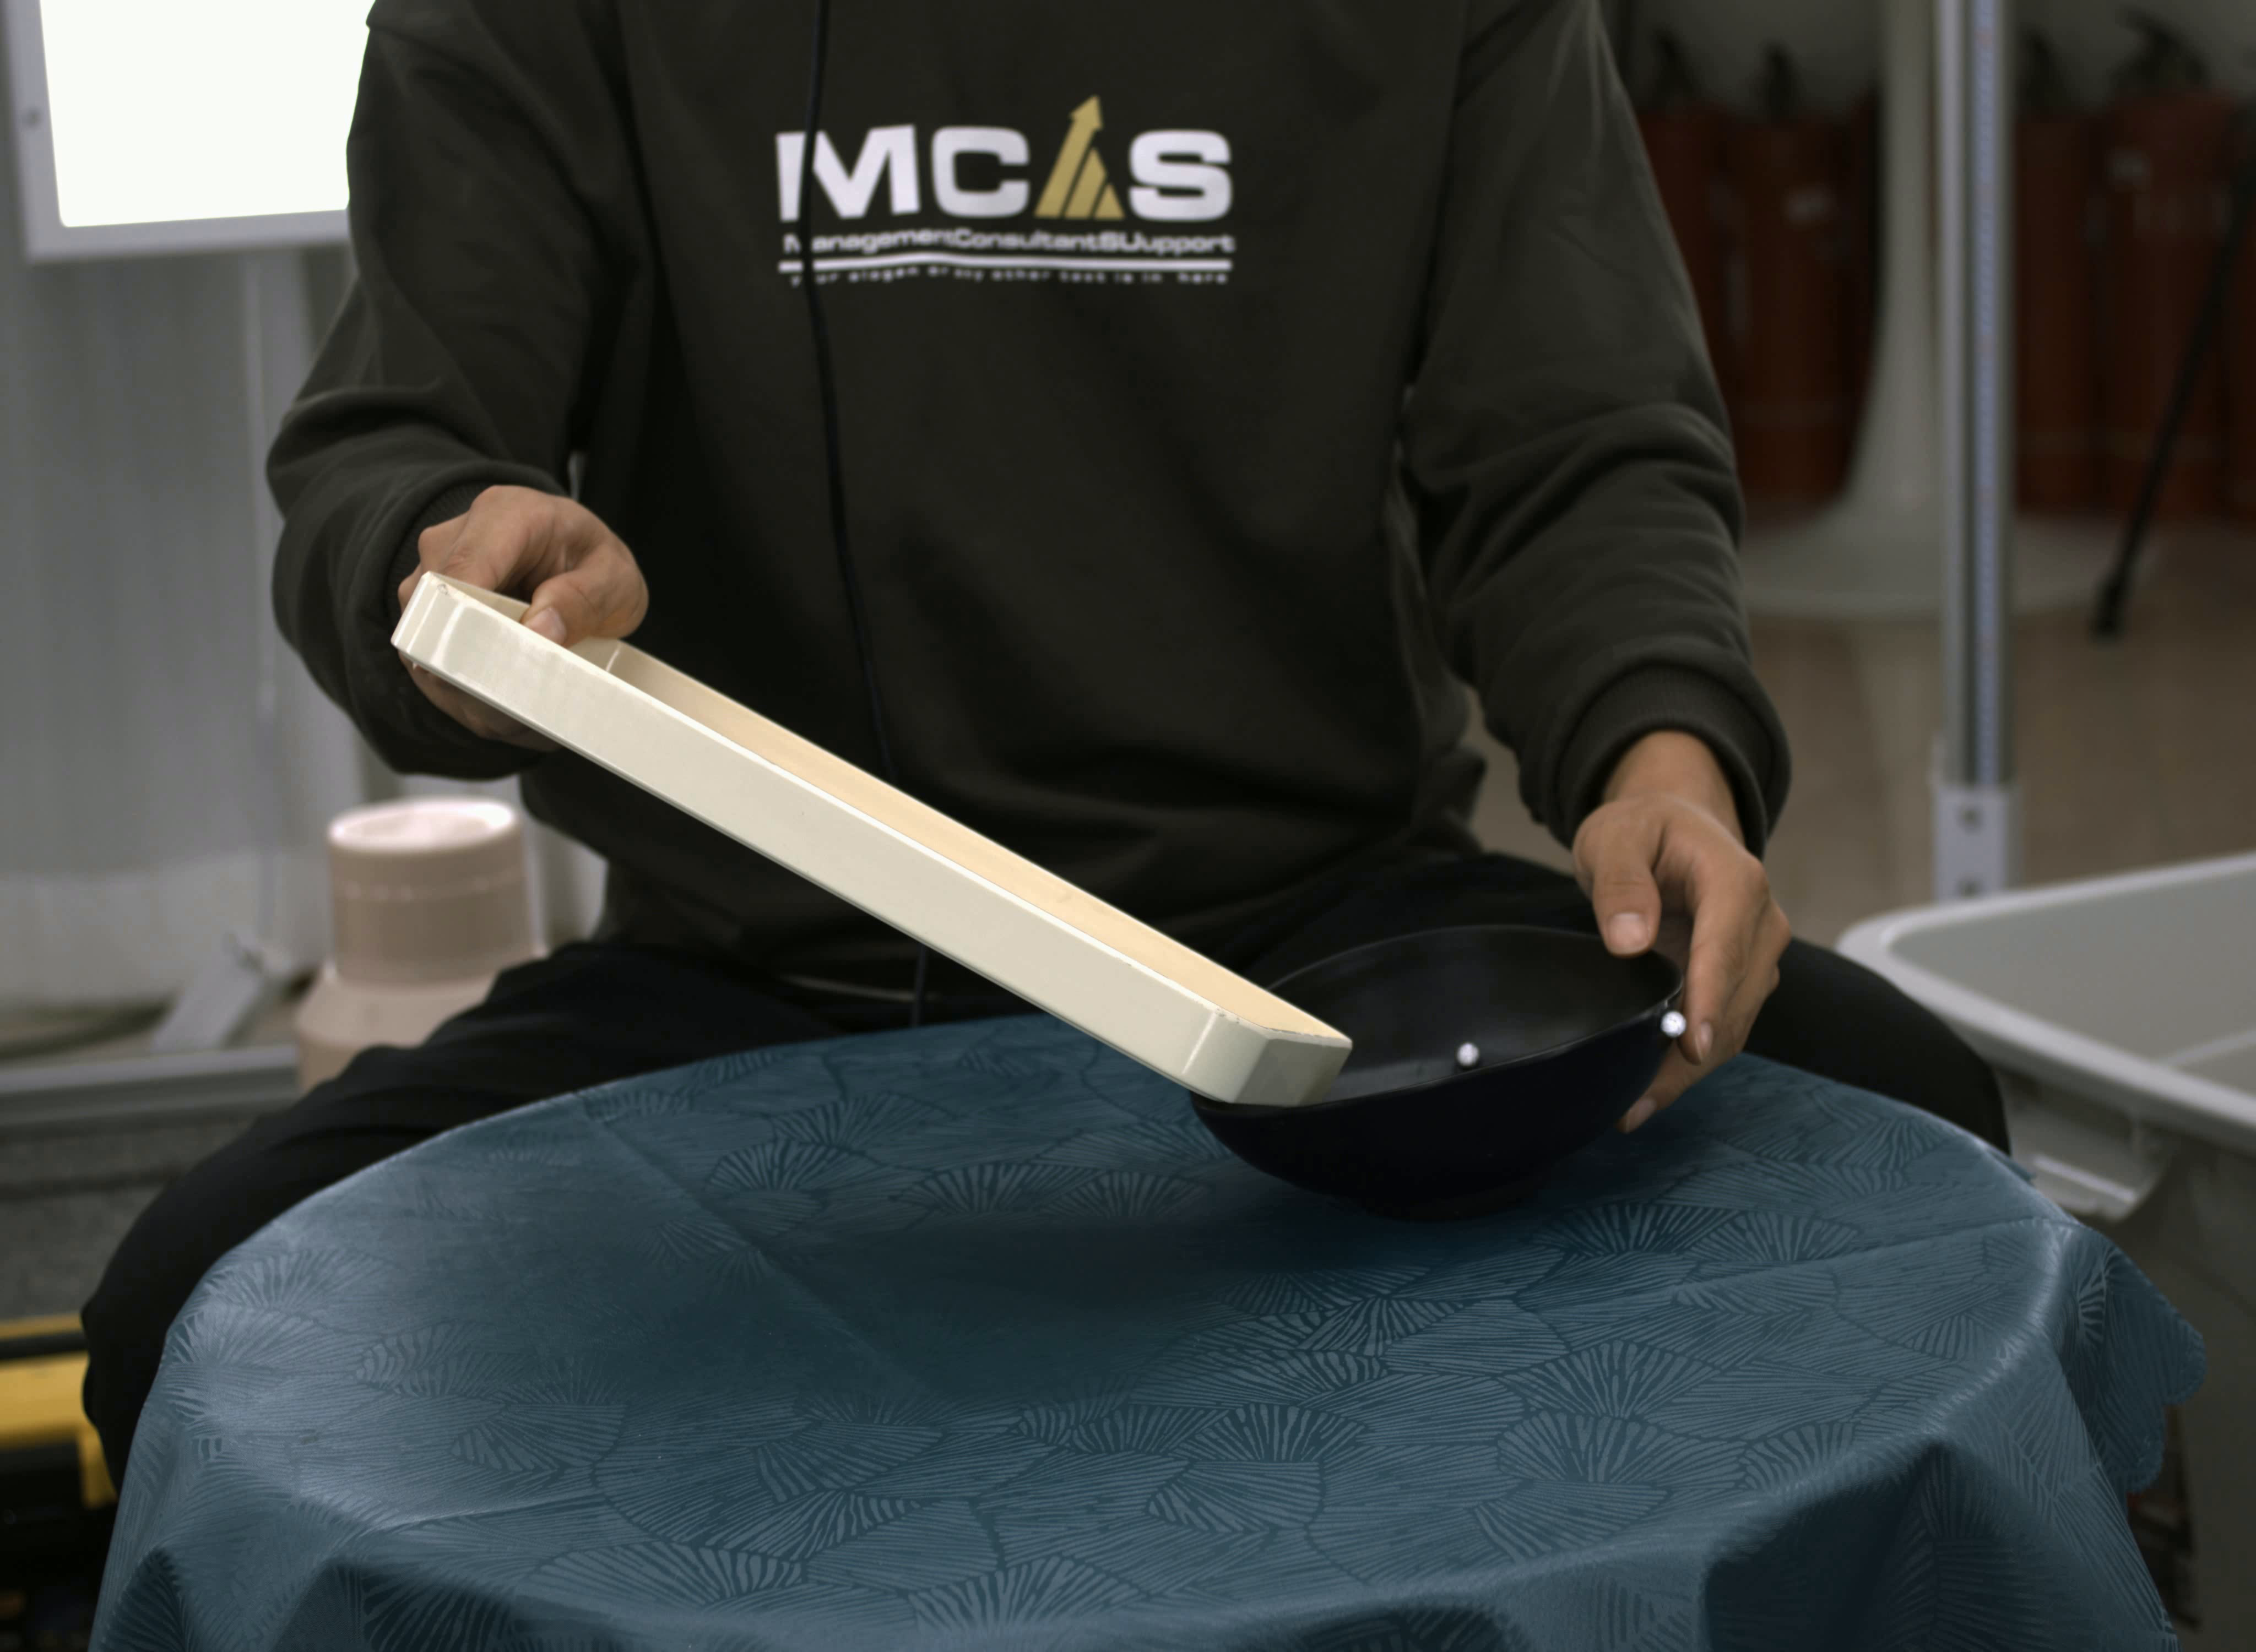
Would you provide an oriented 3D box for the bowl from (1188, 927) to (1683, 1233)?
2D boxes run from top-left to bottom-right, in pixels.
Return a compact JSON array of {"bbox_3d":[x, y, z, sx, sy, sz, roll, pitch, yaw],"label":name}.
[{"bbox_3d":[0.104,0.089,1.743,0.167,0.067,0.138,-17,17,-18],"label":"bowl"}]

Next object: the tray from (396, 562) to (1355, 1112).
[{"bbox_3d":[-0.075,0.006,1.686,0.300,0.027,0.190,29,2,14],"label":"tray"}]
